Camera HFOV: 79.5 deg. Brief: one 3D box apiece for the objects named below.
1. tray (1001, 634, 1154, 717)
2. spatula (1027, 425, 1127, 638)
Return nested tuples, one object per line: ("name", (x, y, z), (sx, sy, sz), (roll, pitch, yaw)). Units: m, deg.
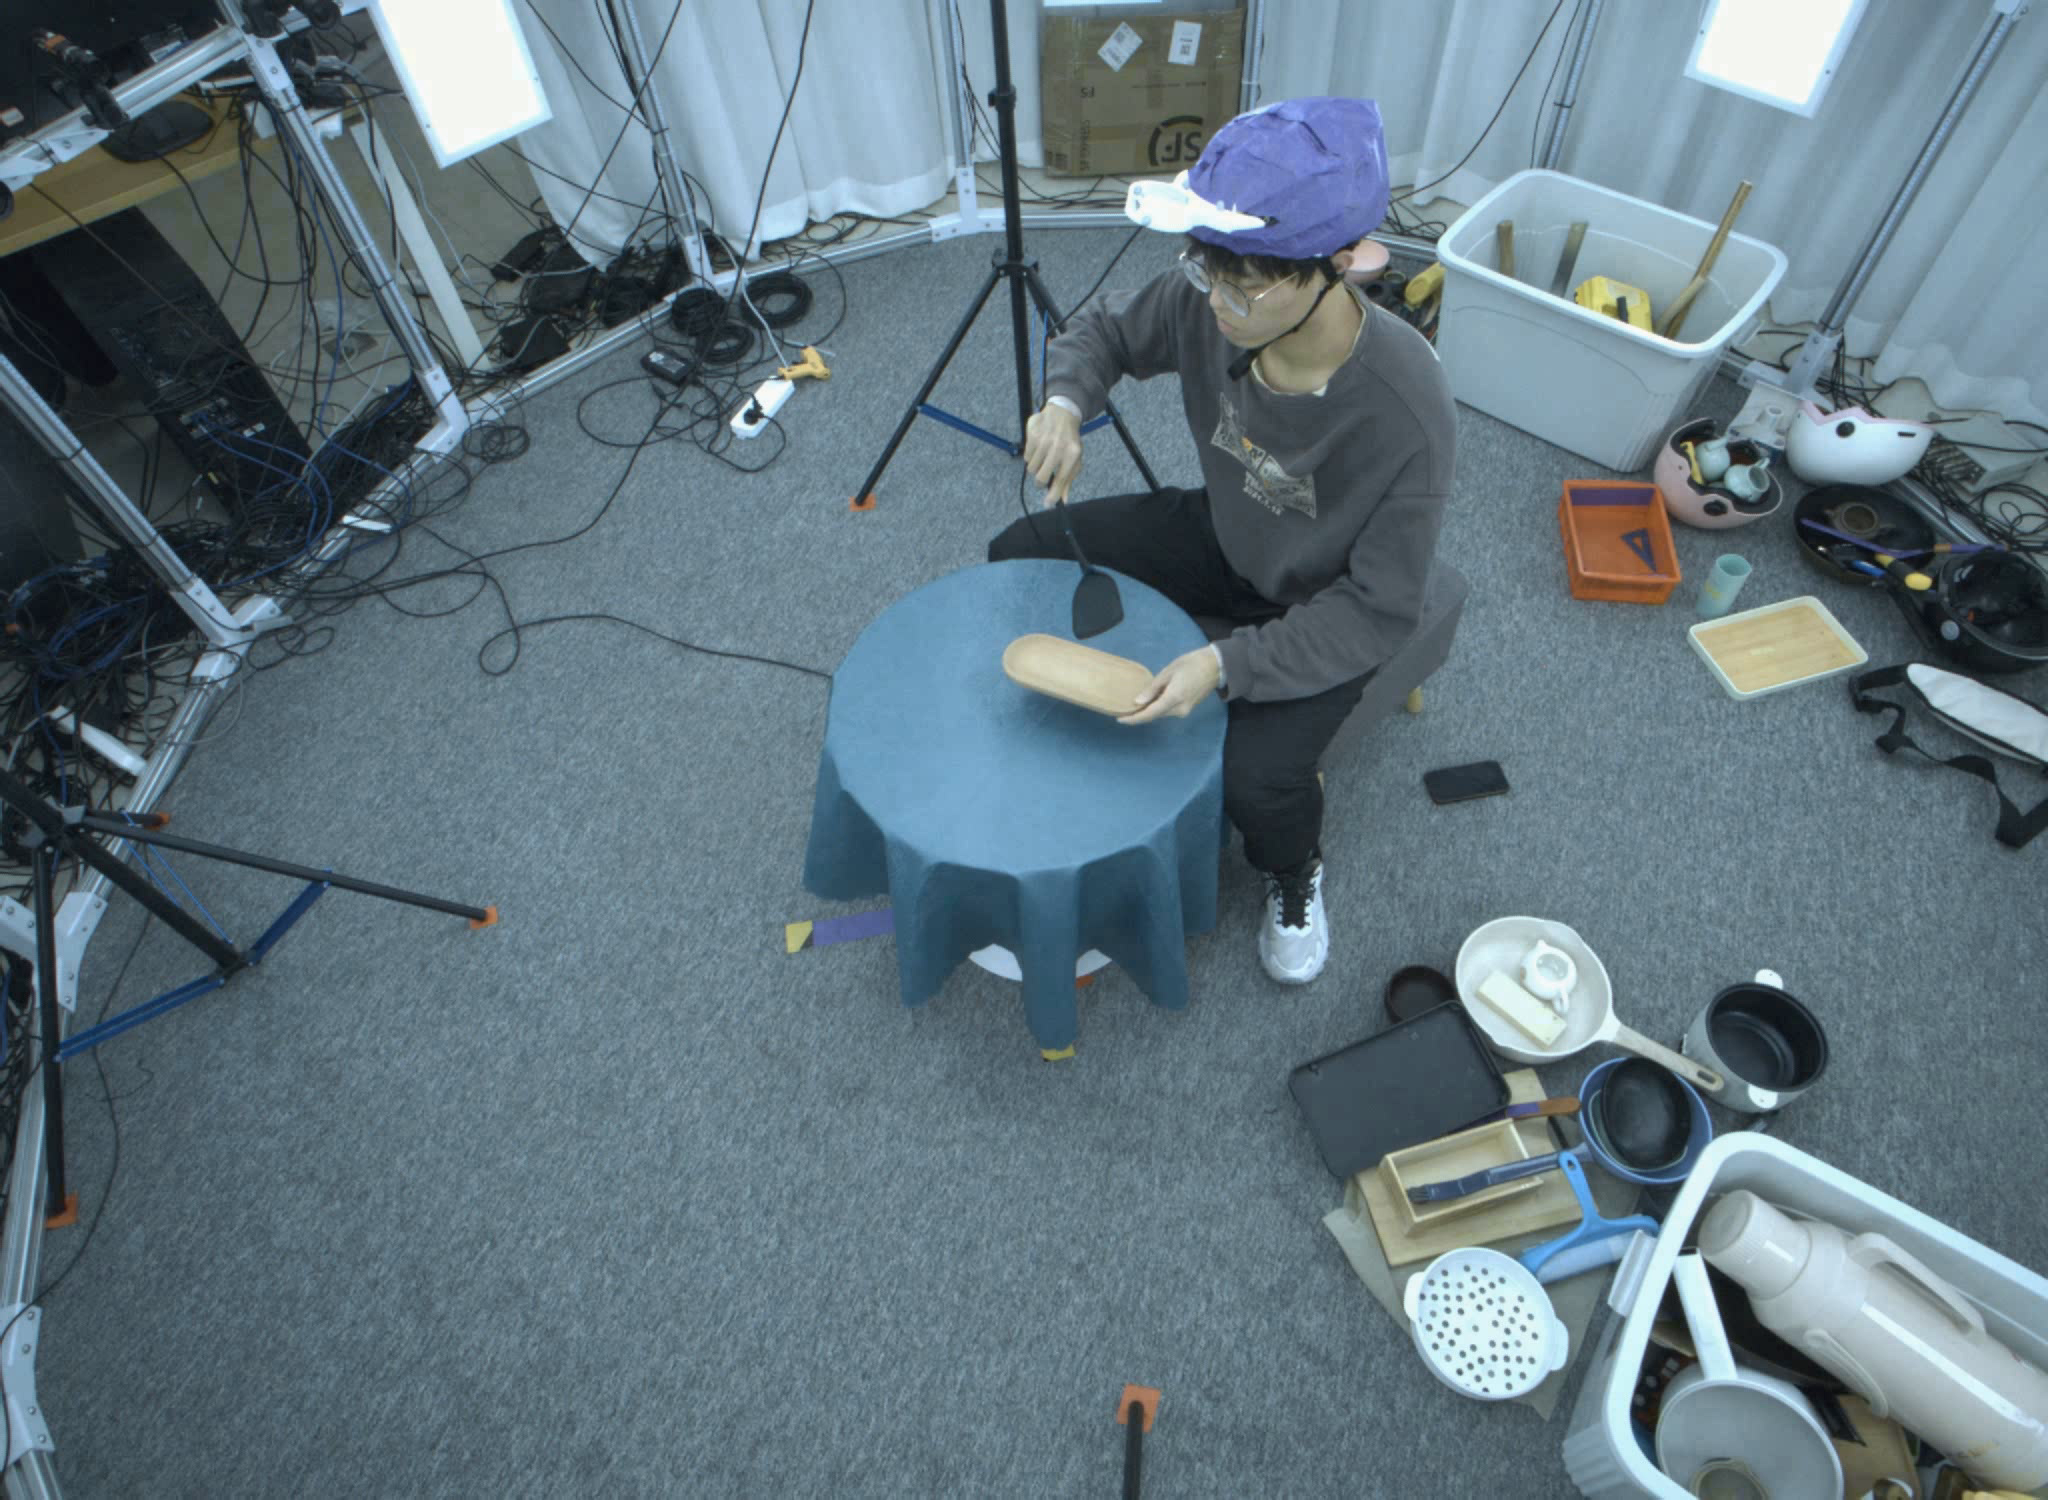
("tray", (0.076, -0.108, 1.769), (0.228, 0.020, 0.102), (18, 53, 16))
("spatula", (0.061, -0.326, 1.784), (0.041, 0.098, 0.327), (-29, 98, -52))
